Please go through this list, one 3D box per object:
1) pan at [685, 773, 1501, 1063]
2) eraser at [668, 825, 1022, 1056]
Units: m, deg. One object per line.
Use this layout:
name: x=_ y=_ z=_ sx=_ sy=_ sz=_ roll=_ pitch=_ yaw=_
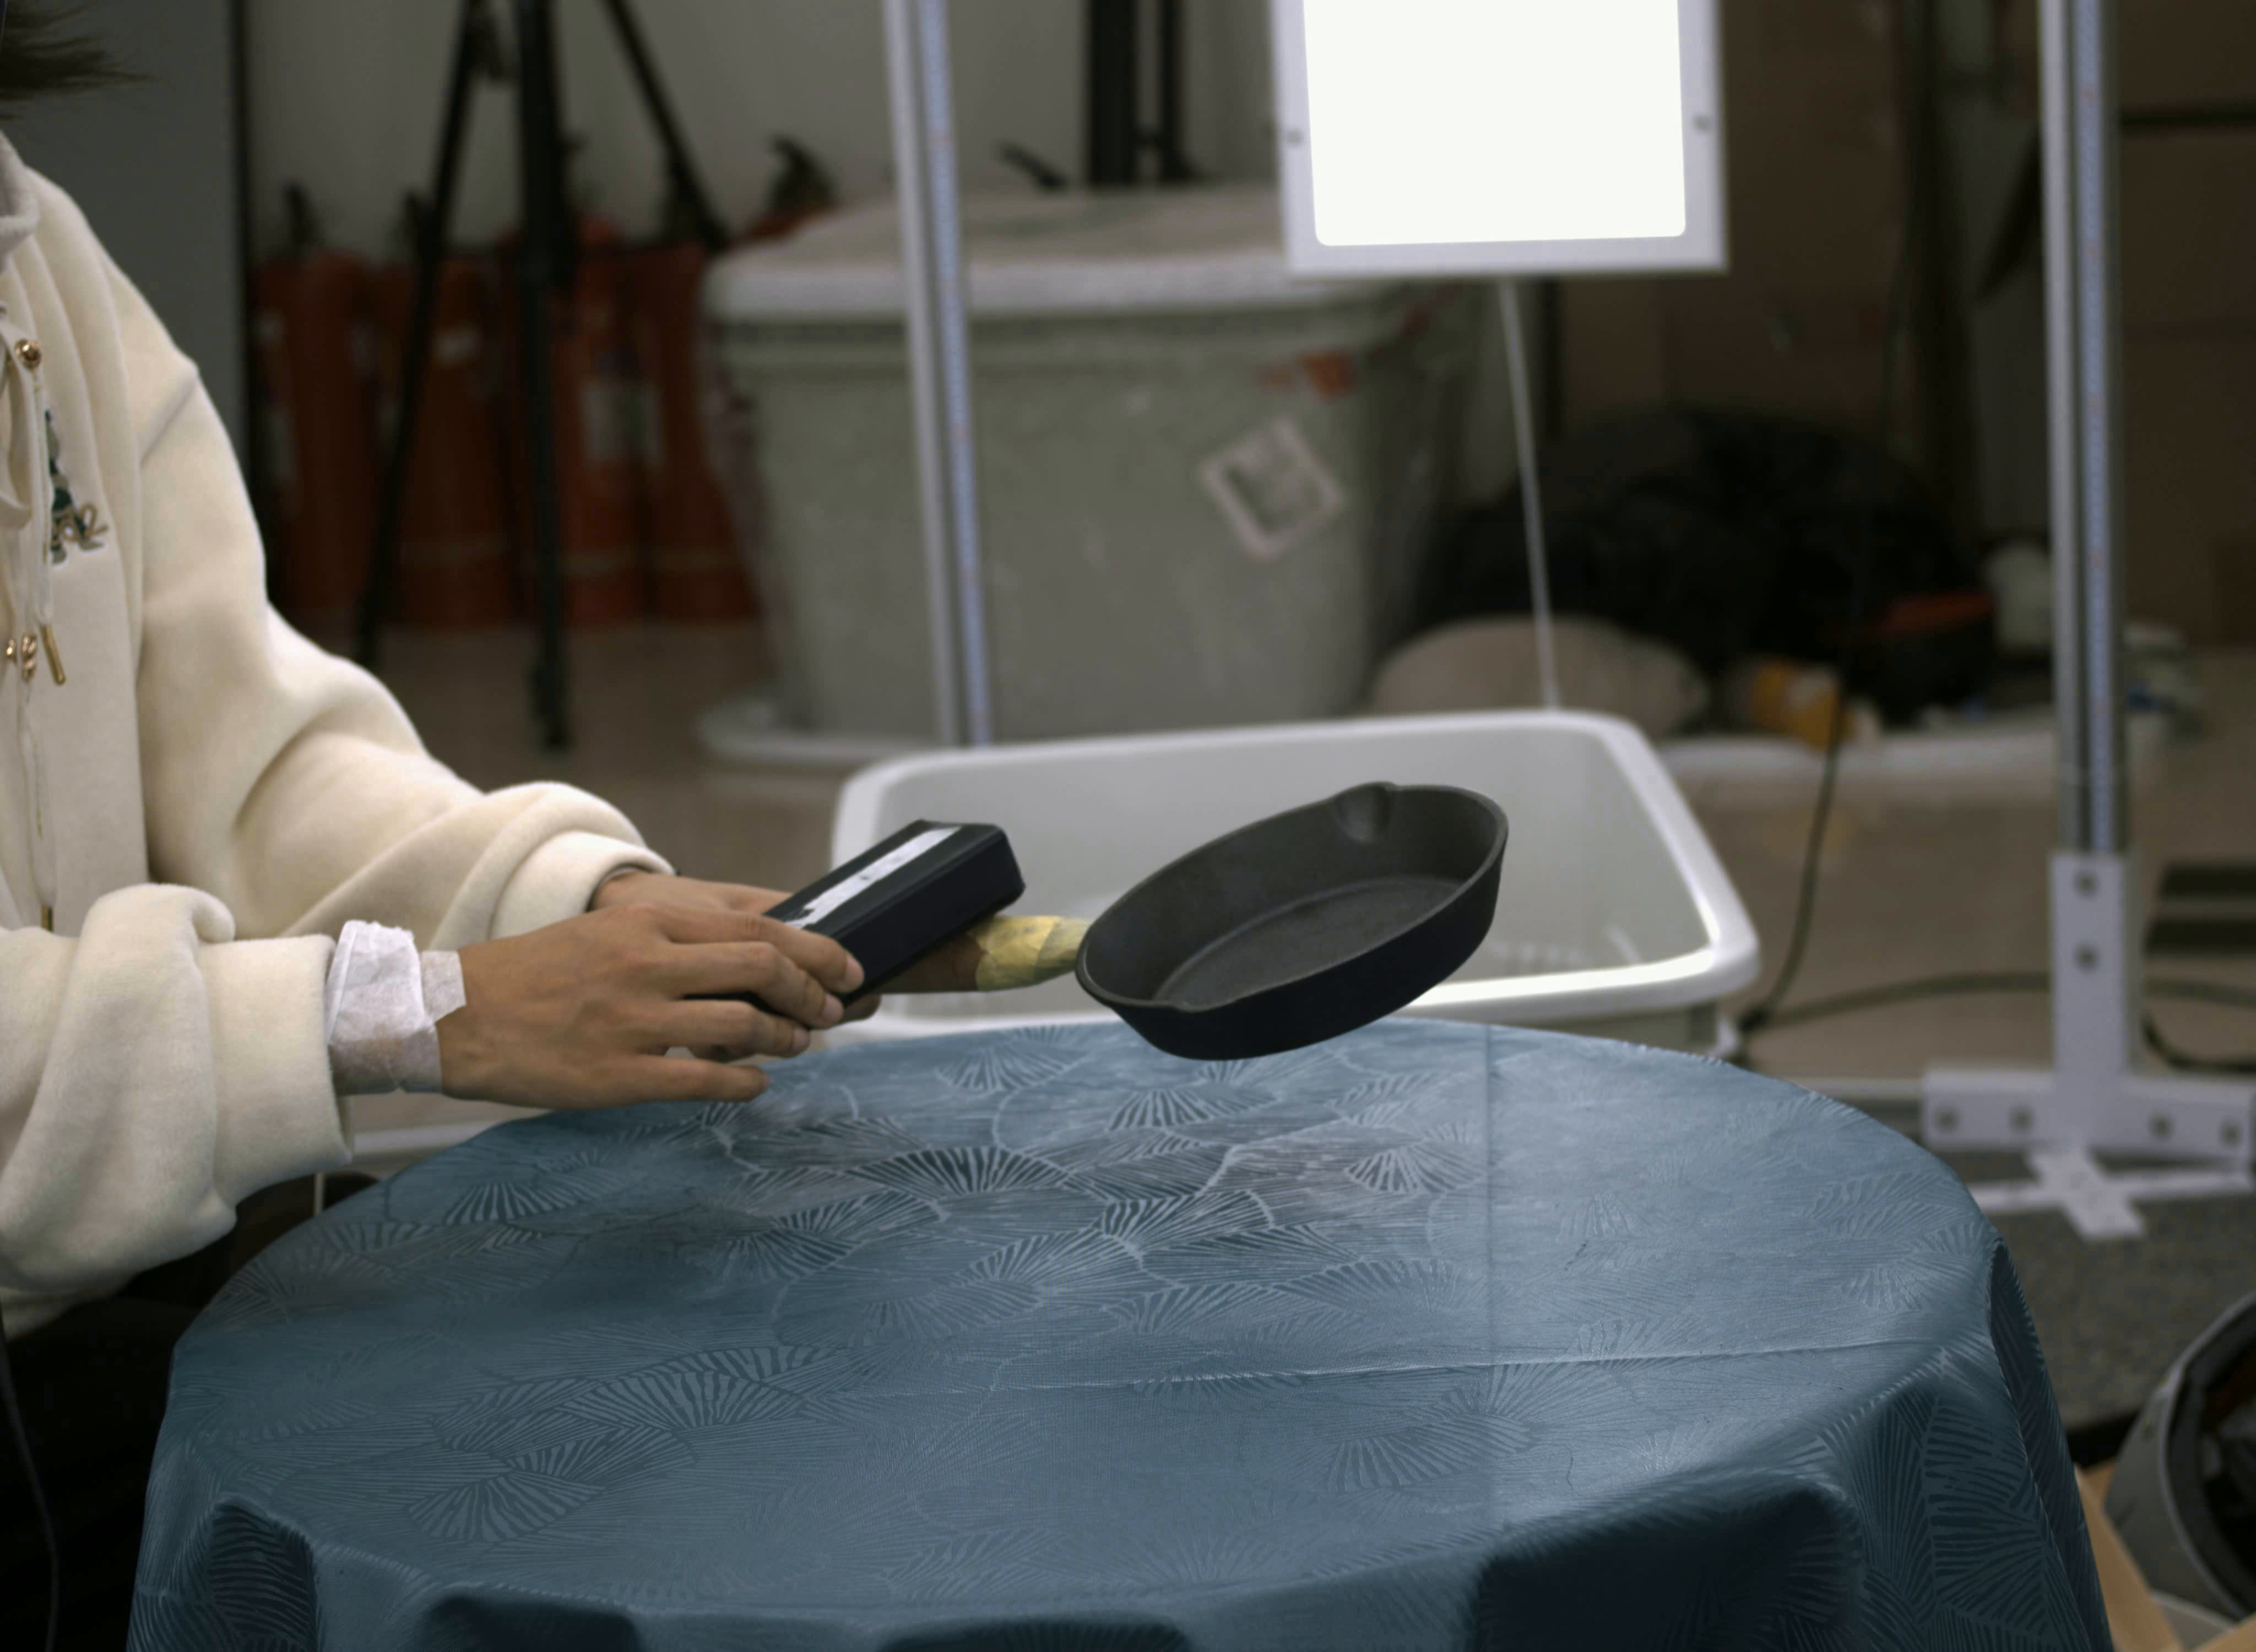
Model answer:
pan: x=-0.015 y=0.041 z=1.927 sx=0.331 sy=0.049 sz=0.166 roll=-9 pitch=24 yaw=32
eraser: x=-0.097 y=0.039 z=1.918 sx=0.123 sy=0.030 sz=0.055 roll=-33 pitch=22 yaw=-33
